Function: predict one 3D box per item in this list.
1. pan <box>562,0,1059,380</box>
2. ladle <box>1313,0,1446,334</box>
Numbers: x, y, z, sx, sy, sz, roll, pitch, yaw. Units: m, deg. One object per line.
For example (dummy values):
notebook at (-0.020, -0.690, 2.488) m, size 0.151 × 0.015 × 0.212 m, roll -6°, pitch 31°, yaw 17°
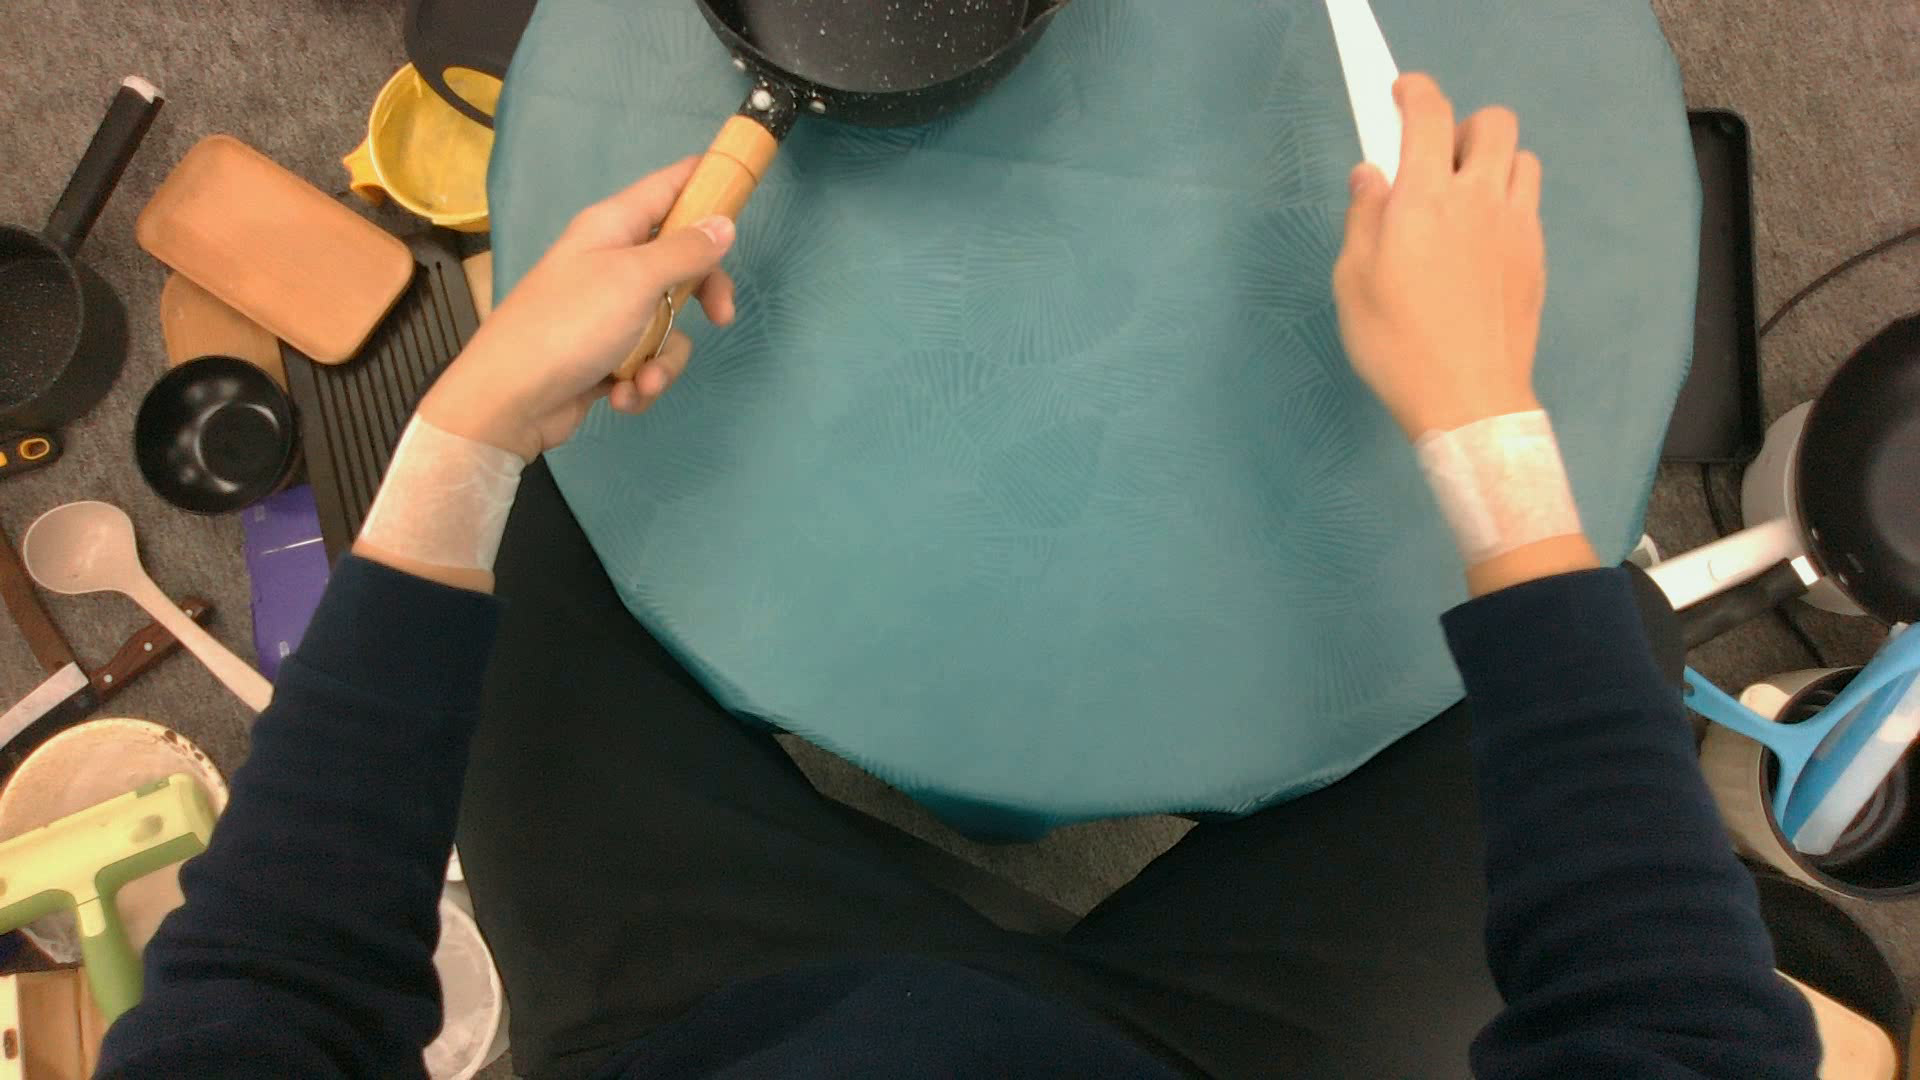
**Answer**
pan at (-0.079, -0.216, 0.632) m, size 0.207 × 0.108 × 0.343 m, roll 25°, pitch 84°, yaw 0°
ladle at (0.187, -0.244, 0.630) m, size 0.090 × 0.069 × 0.293 m, roll -2°, pitch 75°, yaw -20°
